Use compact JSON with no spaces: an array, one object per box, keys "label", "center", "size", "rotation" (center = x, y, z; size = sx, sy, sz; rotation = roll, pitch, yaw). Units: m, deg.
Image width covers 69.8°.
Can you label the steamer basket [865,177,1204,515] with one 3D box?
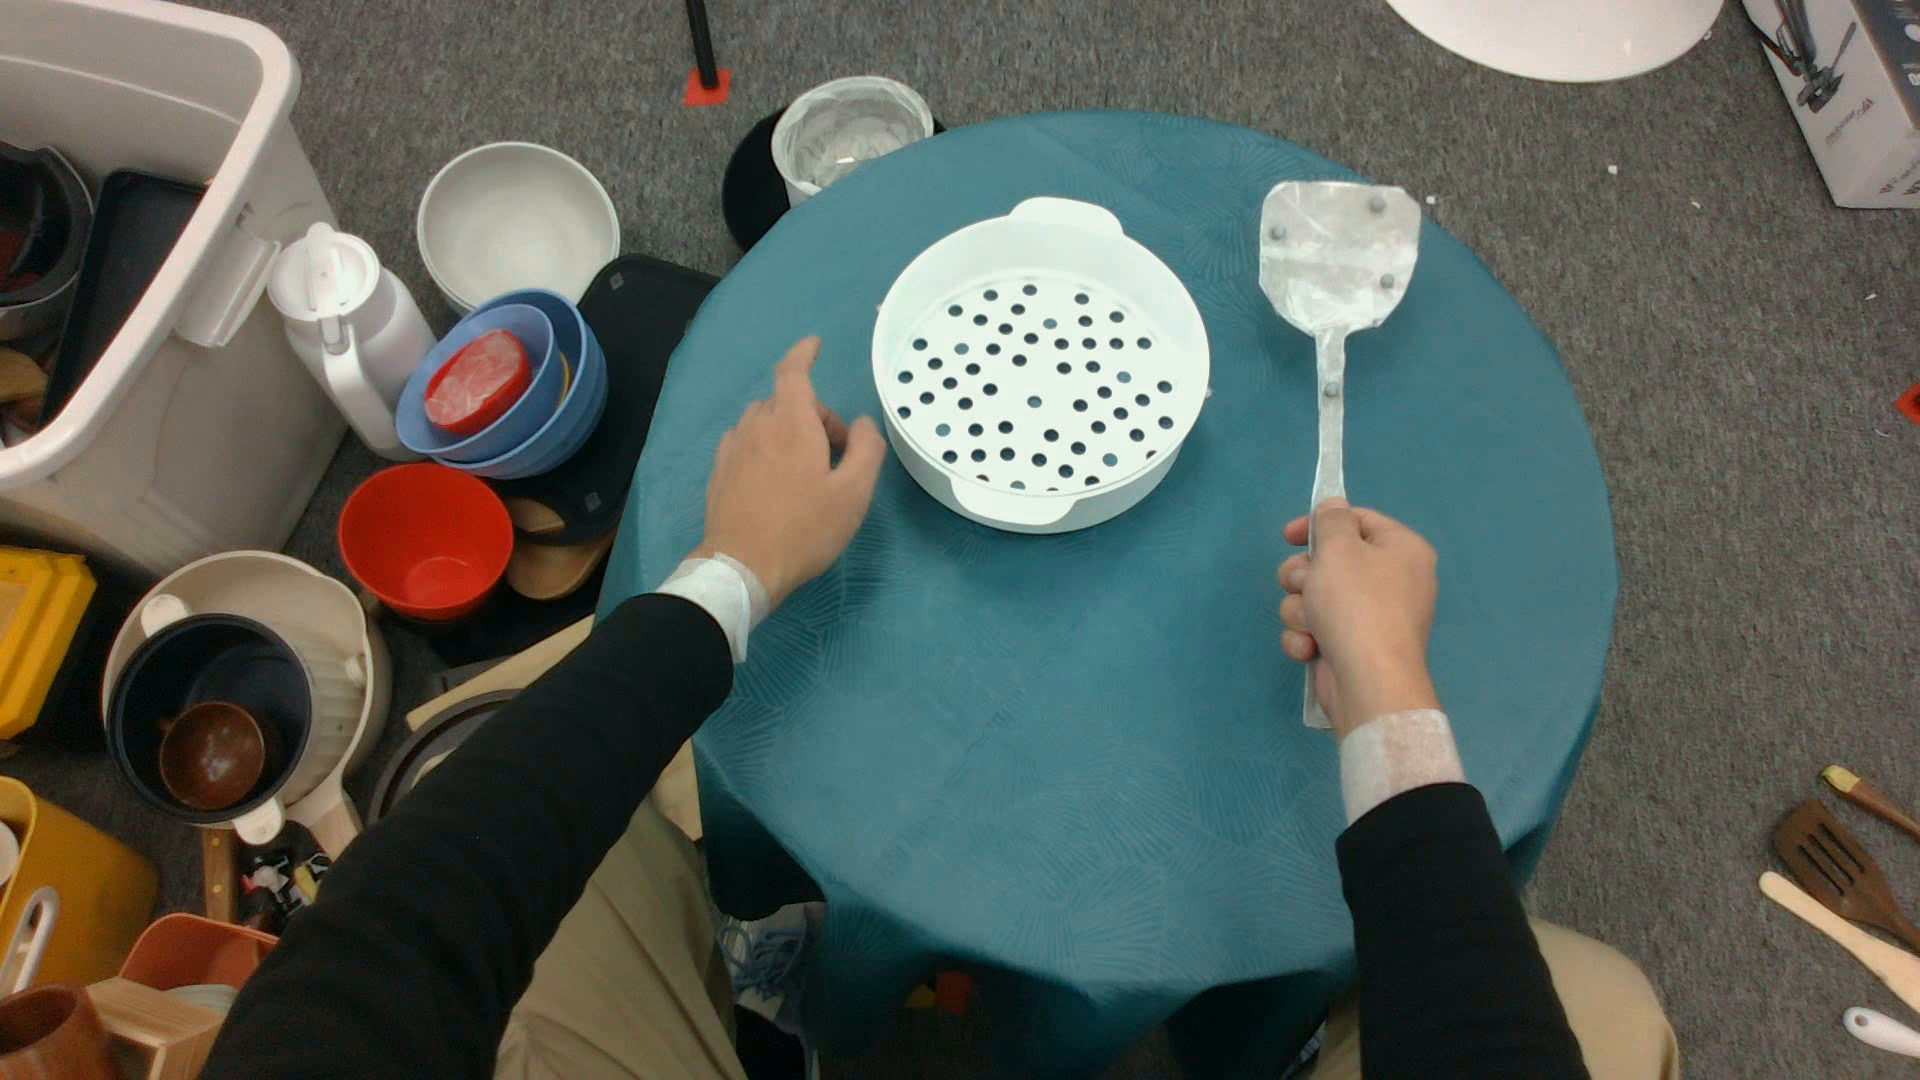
[{"label":"steamer basket","center":[0.044,-0.112,0.843],"size":[0.202,0.069,0.231],"rotation":[10,66,4]}]

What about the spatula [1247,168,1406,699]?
[{"label":"spatula","center":[0.206,-0.076,0.795],"size":[0.098,0.044,0.366],"rotation":[8,55,5]}]
